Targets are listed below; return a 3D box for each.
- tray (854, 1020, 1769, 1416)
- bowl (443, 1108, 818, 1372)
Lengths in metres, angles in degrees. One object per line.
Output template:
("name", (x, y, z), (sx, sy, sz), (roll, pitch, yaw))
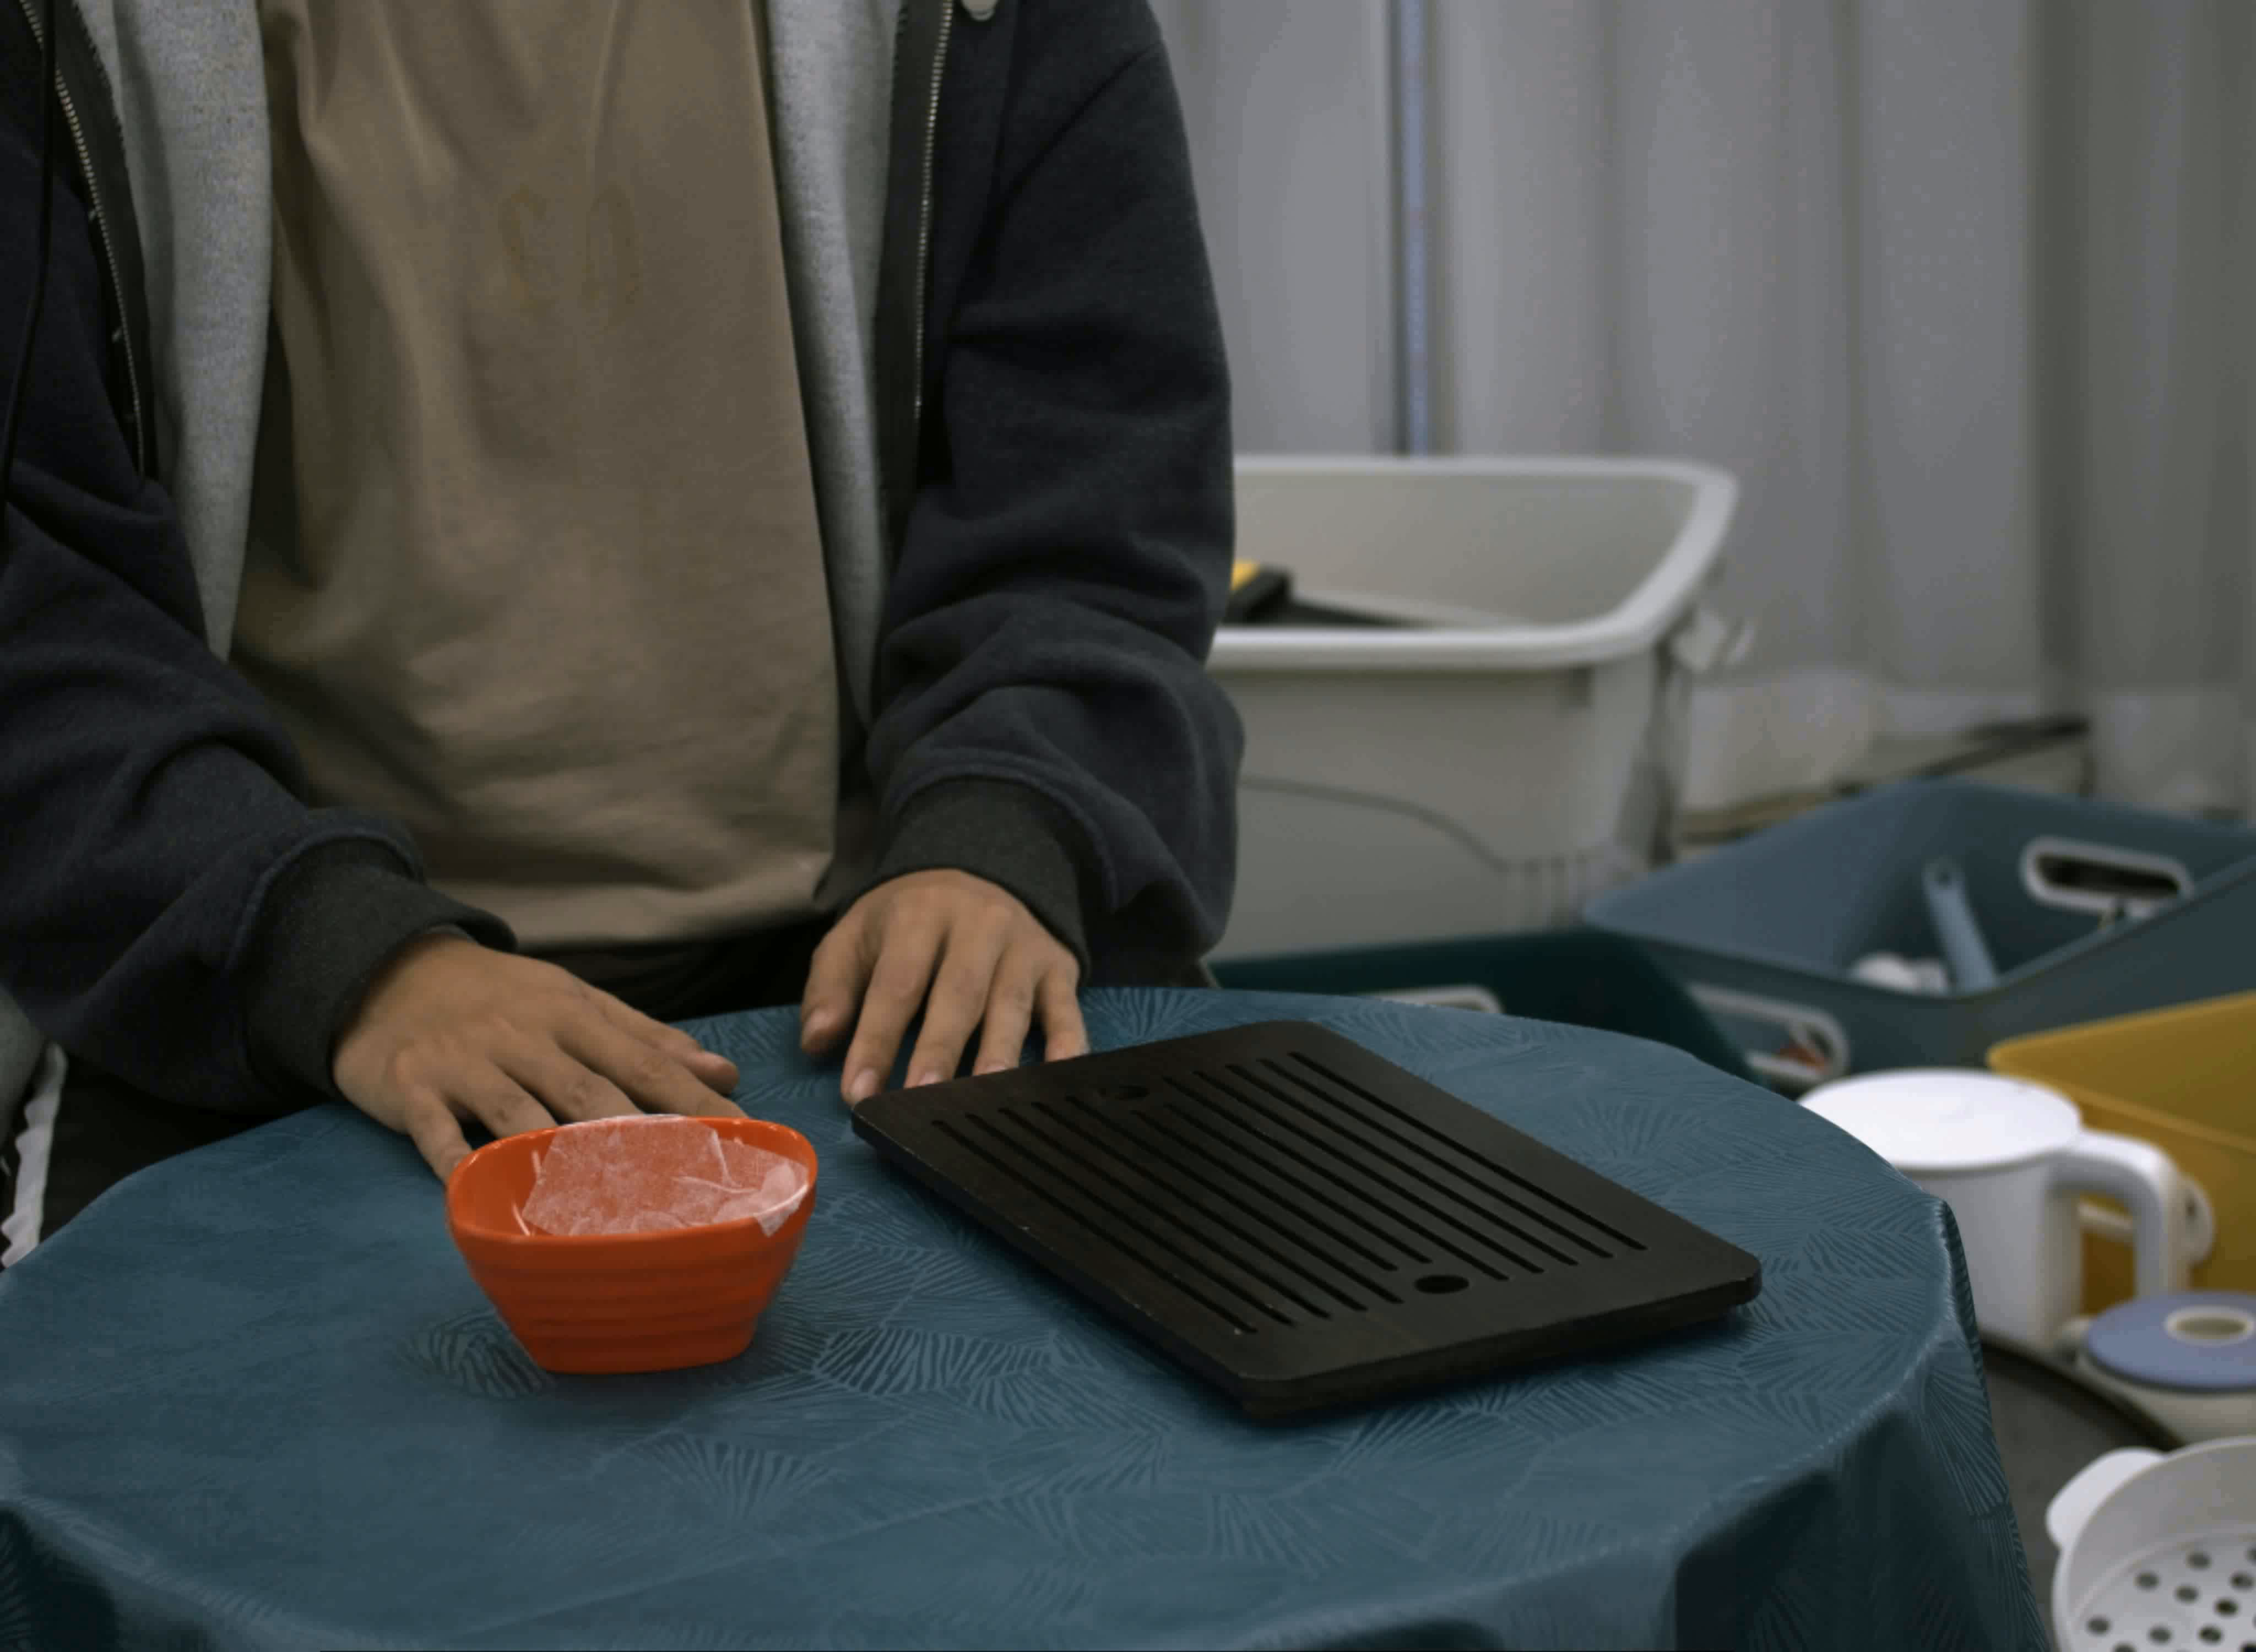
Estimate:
("tray", (0.048, 0.116, 1.669), (0.169, 0.018, 0.308), (-10, 16, -23))
("bowl", (-0.144, 0.124, 1.605), (0.118, 0.051, 0.120), (-4, 16, 1))
